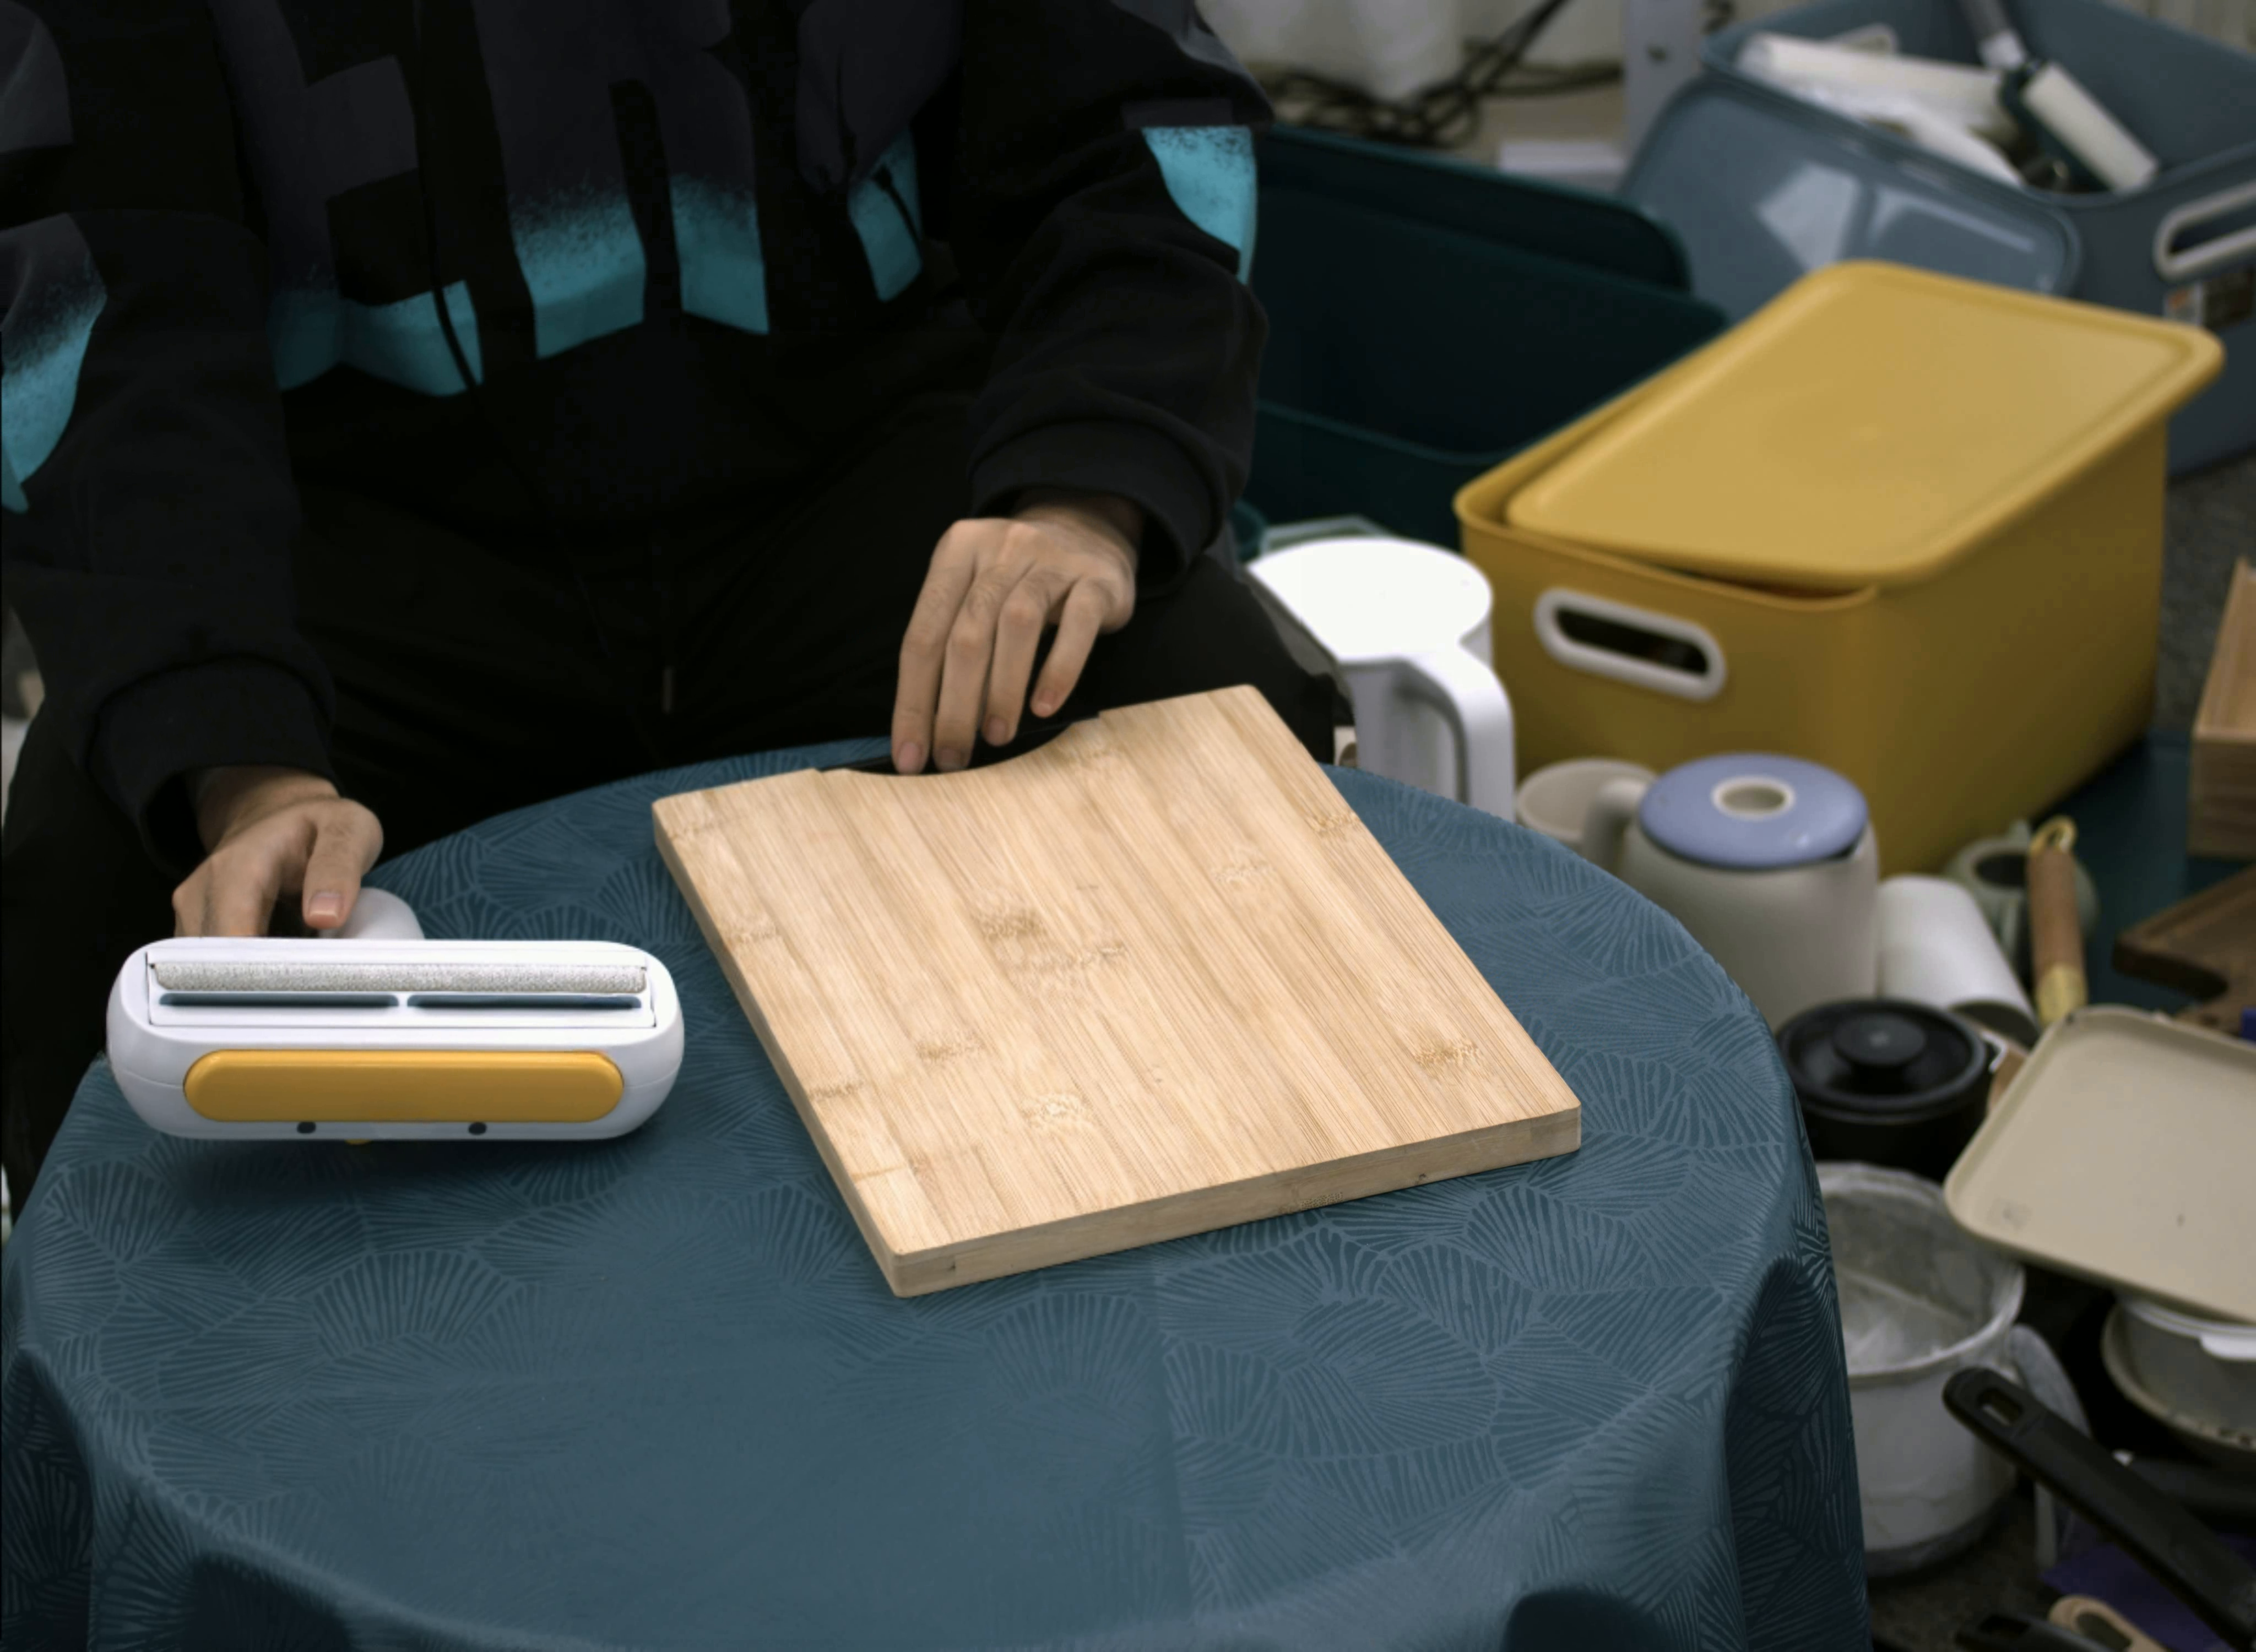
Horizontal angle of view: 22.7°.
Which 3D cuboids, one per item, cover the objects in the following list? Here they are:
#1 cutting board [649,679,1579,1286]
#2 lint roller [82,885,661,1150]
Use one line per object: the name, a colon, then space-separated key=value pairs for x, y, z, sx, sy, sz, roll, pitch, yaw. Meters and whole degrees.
cutting board: x=-0.014 y=0.049 z=1.985 sx=0.251 sy=0.023 sz=0.352 roll=-11 pitch=29 yaw=-15
lint roller: x=-0.261 y=0.054 z=1.944 sx=0.192 sy=0.073 sz=0.195 roll=-1 pitch=25 yaw=-8
